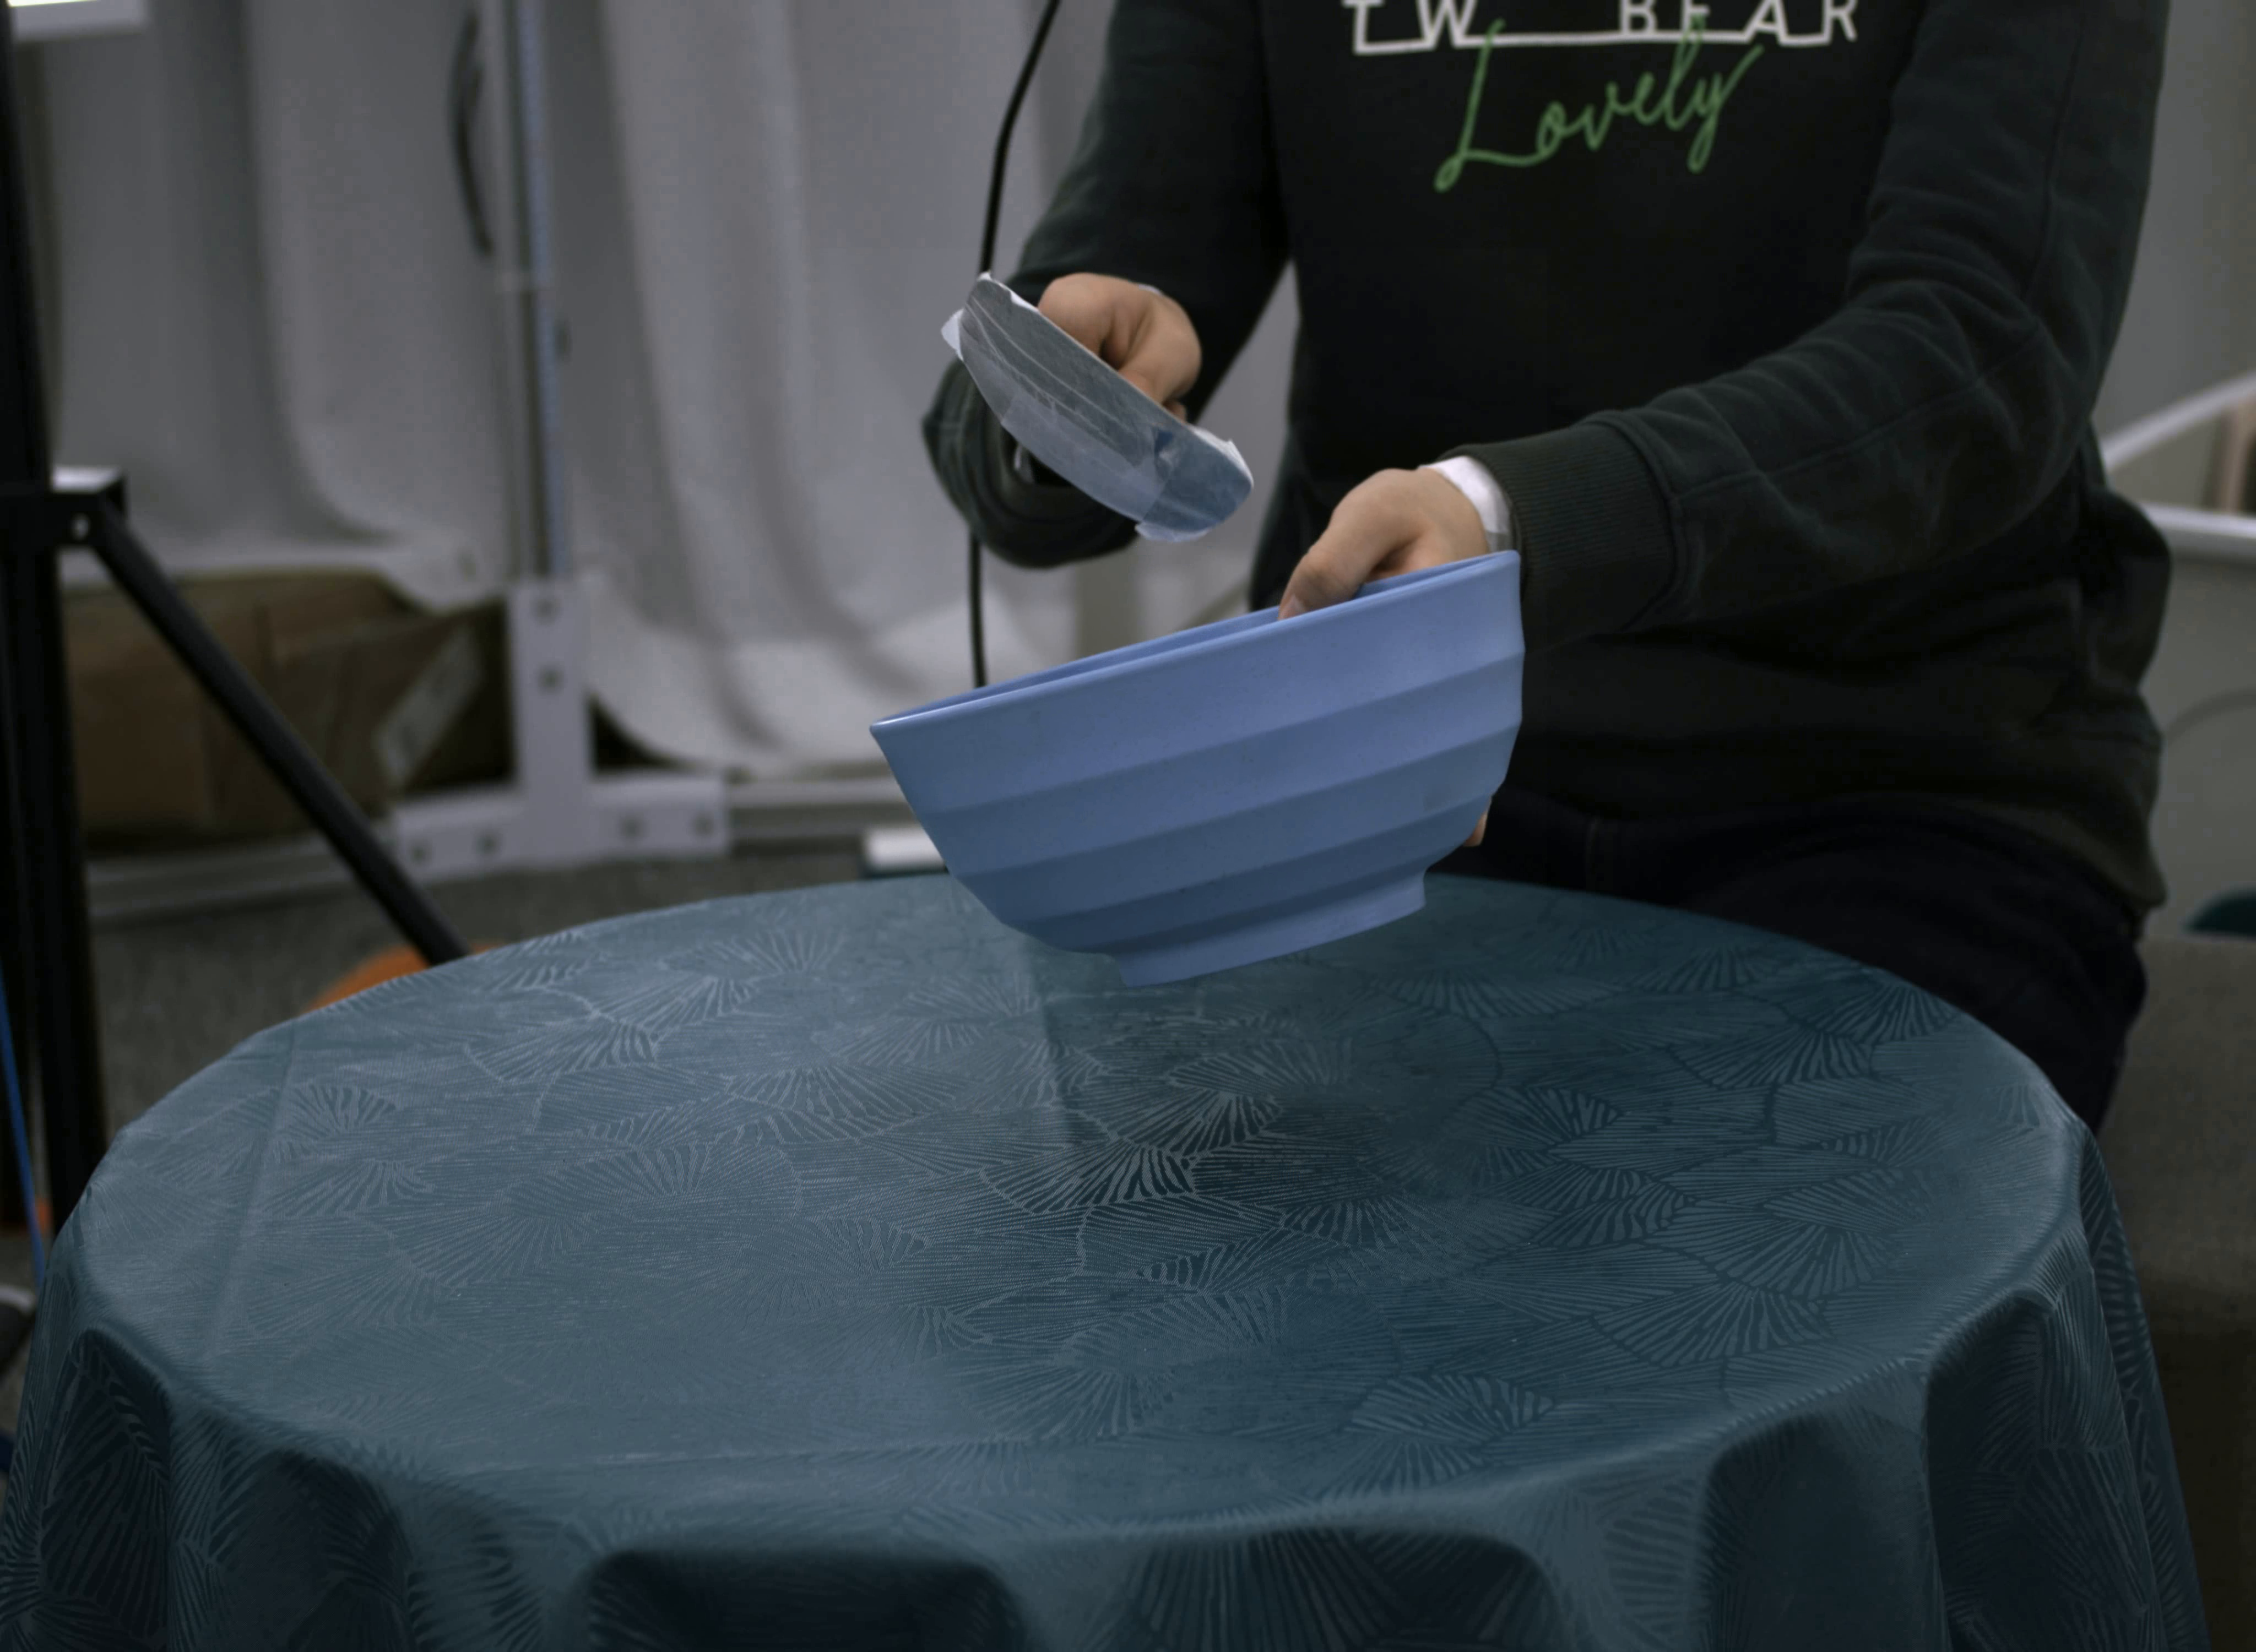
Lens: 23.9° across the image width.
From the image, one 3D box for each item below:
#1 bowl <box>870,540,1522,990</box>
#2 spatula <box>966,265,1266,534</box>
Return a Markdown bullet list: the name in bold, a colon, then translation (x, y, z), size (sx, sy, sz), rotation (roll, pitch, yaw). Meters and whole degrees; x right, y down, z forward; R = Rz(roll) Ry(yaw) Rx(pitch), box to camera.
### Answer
- **bowl**: translation (0.031, -0.010, 1.550), size (0.195, 0.096, 0.197), rotation (-17, 3, -1)
- **spatula**: translation (-0.001, -0.124, 1.645), size (0.098, 0.045, 0.364), rotation (36, 5, 0)
